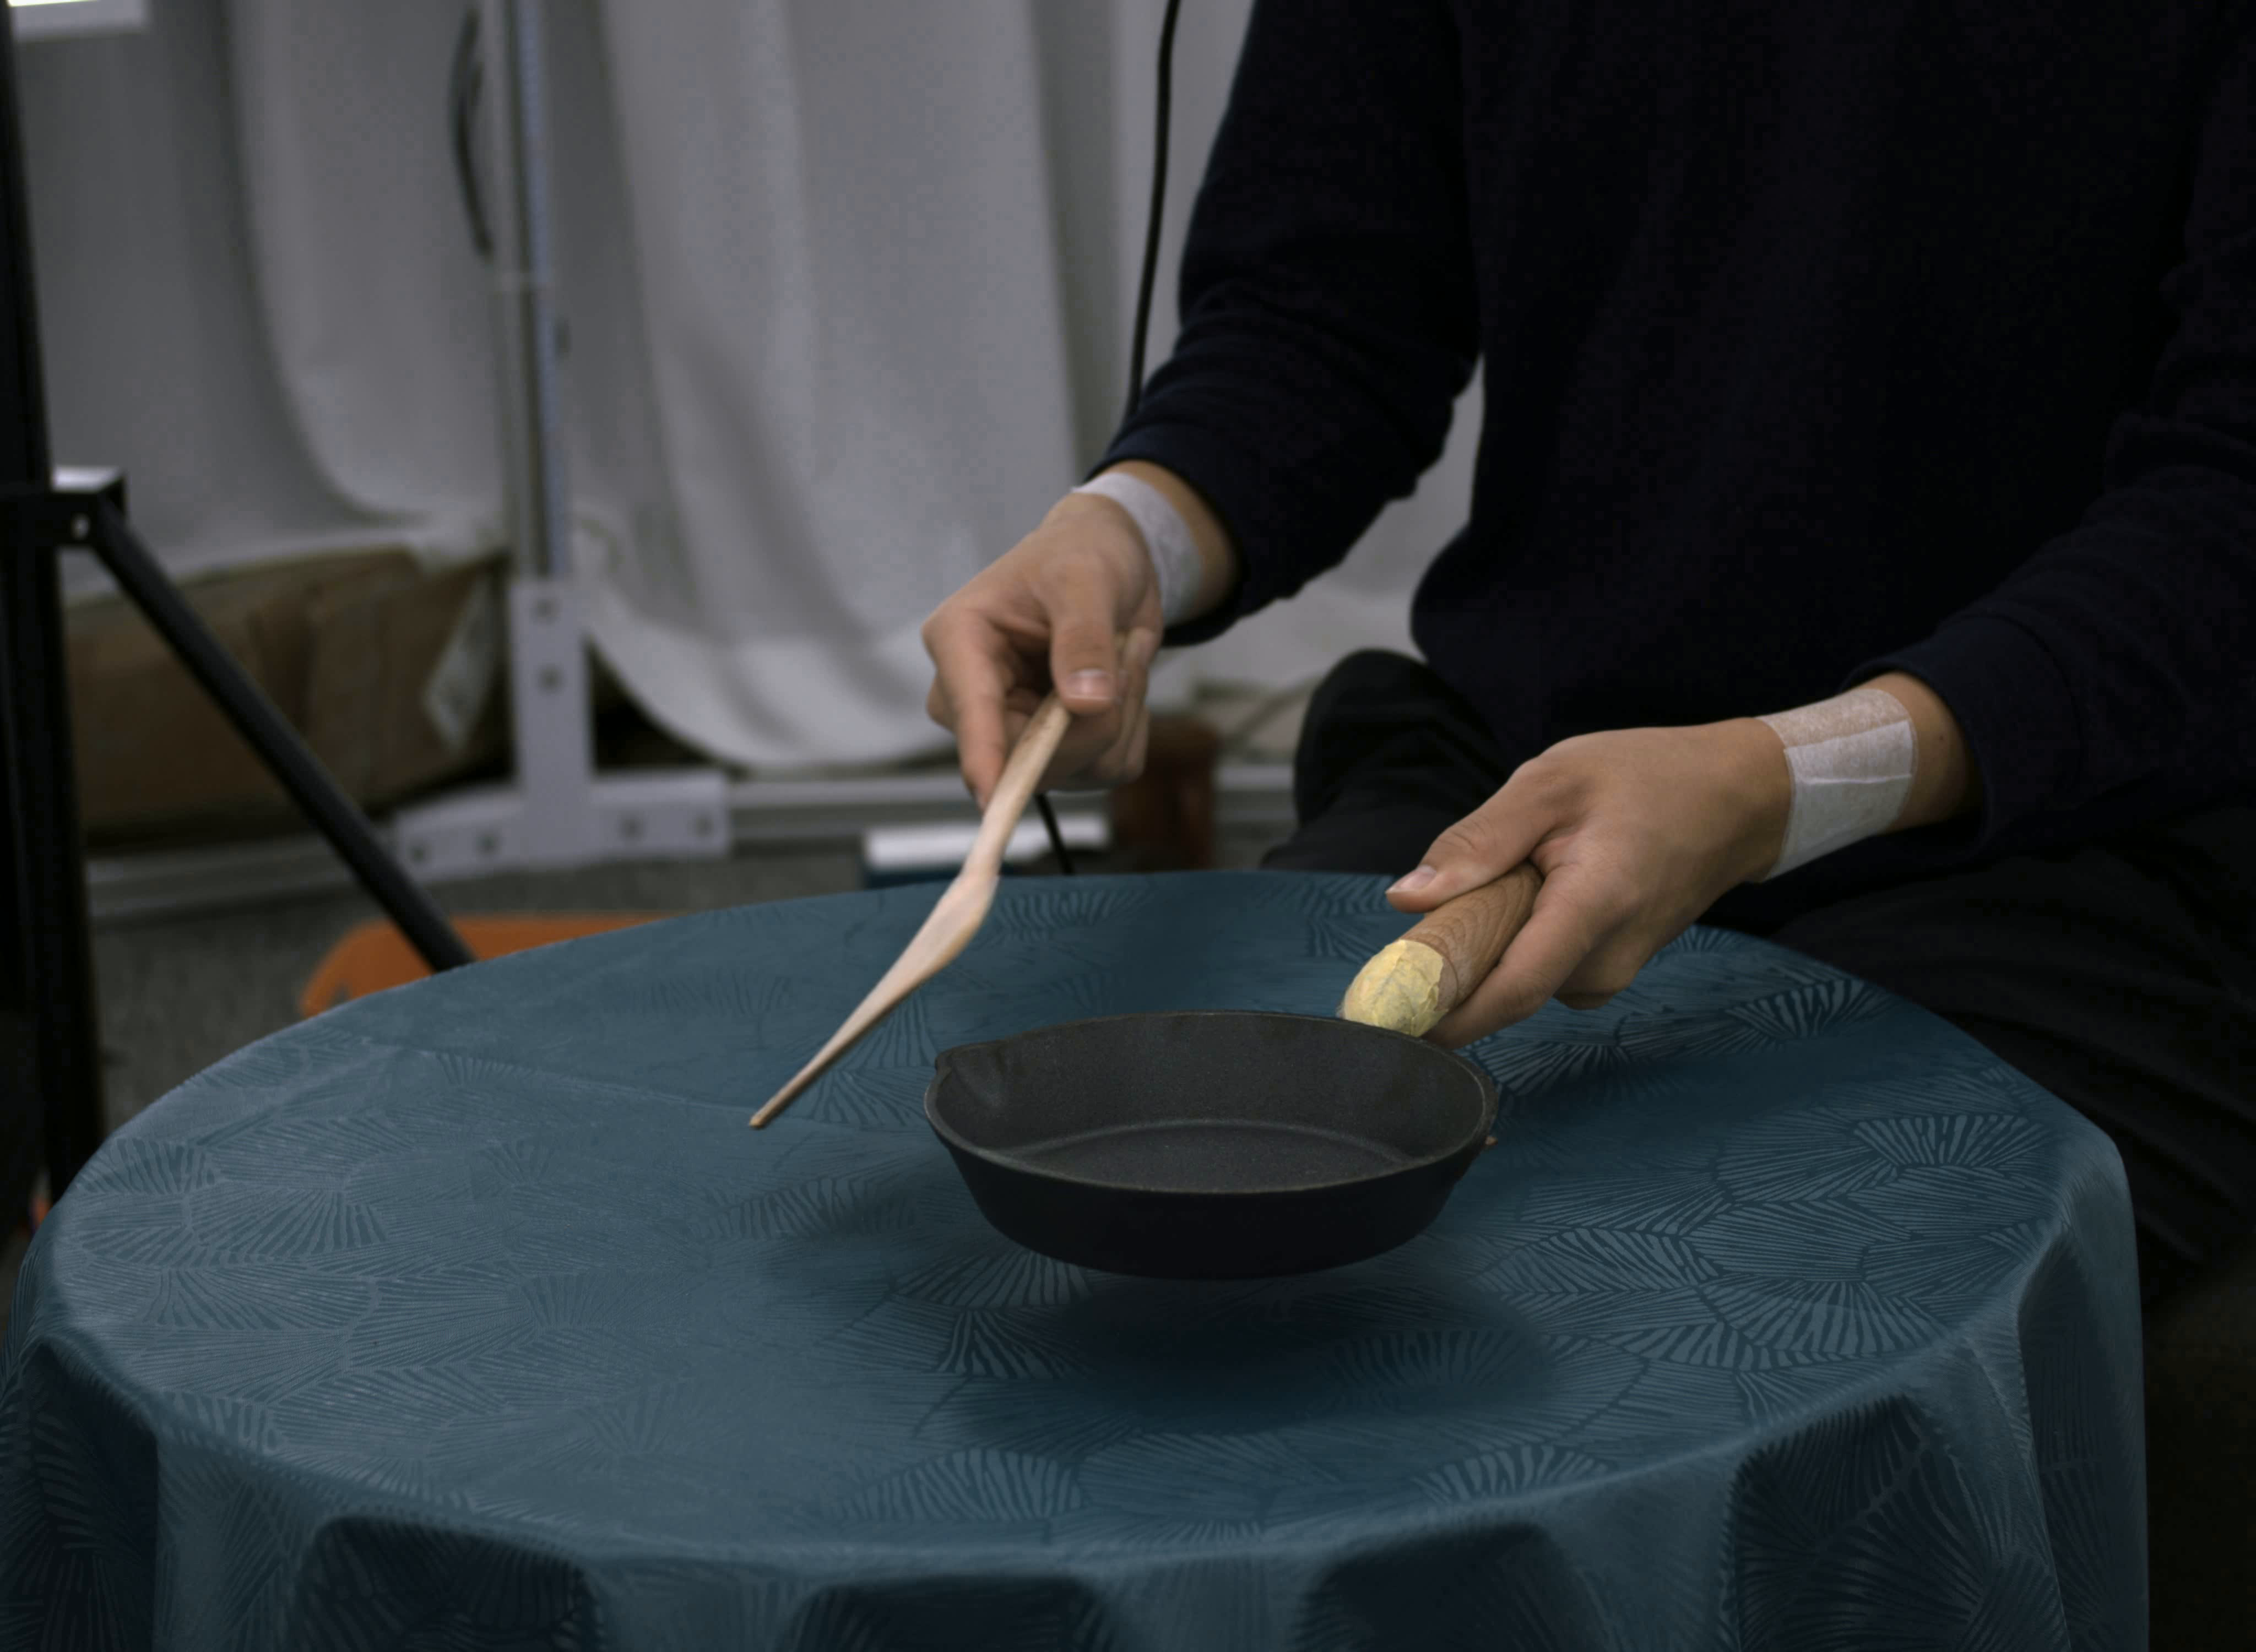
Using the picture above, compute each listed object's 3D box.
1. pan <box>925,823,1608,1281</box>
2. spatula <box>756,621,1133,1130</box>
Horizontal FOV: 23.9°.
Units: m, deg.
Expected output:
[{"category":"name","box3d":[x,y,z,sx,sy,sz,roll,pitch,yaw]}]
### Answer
[{"category":"pan","box3d":[0.065,0.061,1.517,0.172,0.049,0.318,8,19,30]},{"category":"spatula","box3d":[-0.042,0.002,1.647,0.081,0.016,0.326,-39,11,26]}]
